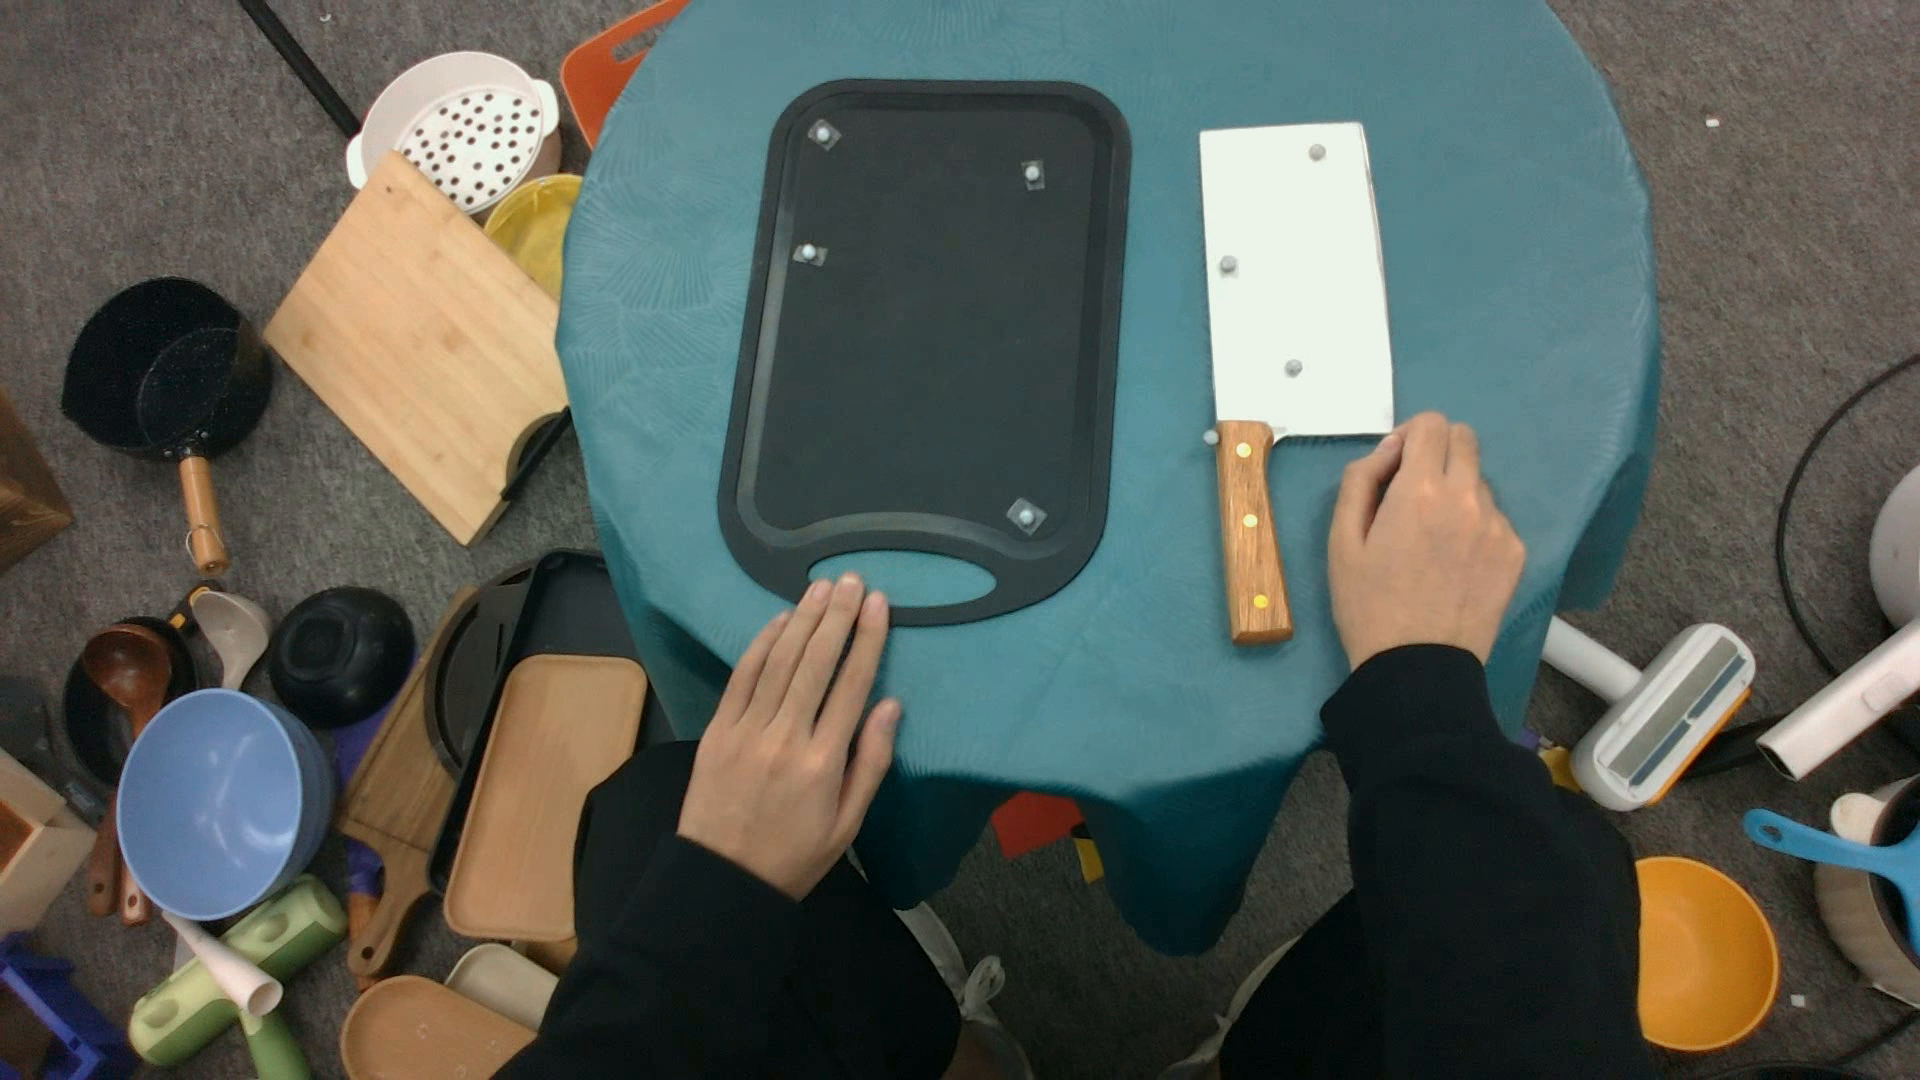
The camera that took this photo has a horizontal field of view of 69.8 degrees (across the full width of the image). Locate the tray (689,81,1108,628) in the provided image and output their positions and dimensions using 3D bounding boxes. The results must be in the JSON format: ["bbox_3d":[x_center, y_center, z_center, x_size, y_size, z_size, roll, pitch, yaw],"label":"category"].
[{"bbox_3d":[-0.031,-0.111,0.749,0.211,0.010,0.326,4,73,7],"label":"tray"}]

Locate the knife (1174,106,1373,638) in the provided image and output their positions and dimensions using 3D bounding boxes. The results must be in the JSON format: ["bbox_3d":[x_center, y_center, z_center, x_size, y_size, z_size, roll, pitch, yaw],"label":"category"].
[{"bbox_3d":[0.167,-0.098,0.721,0.093,0.021,0.306,-2,70,4],"label":"knife"}]
